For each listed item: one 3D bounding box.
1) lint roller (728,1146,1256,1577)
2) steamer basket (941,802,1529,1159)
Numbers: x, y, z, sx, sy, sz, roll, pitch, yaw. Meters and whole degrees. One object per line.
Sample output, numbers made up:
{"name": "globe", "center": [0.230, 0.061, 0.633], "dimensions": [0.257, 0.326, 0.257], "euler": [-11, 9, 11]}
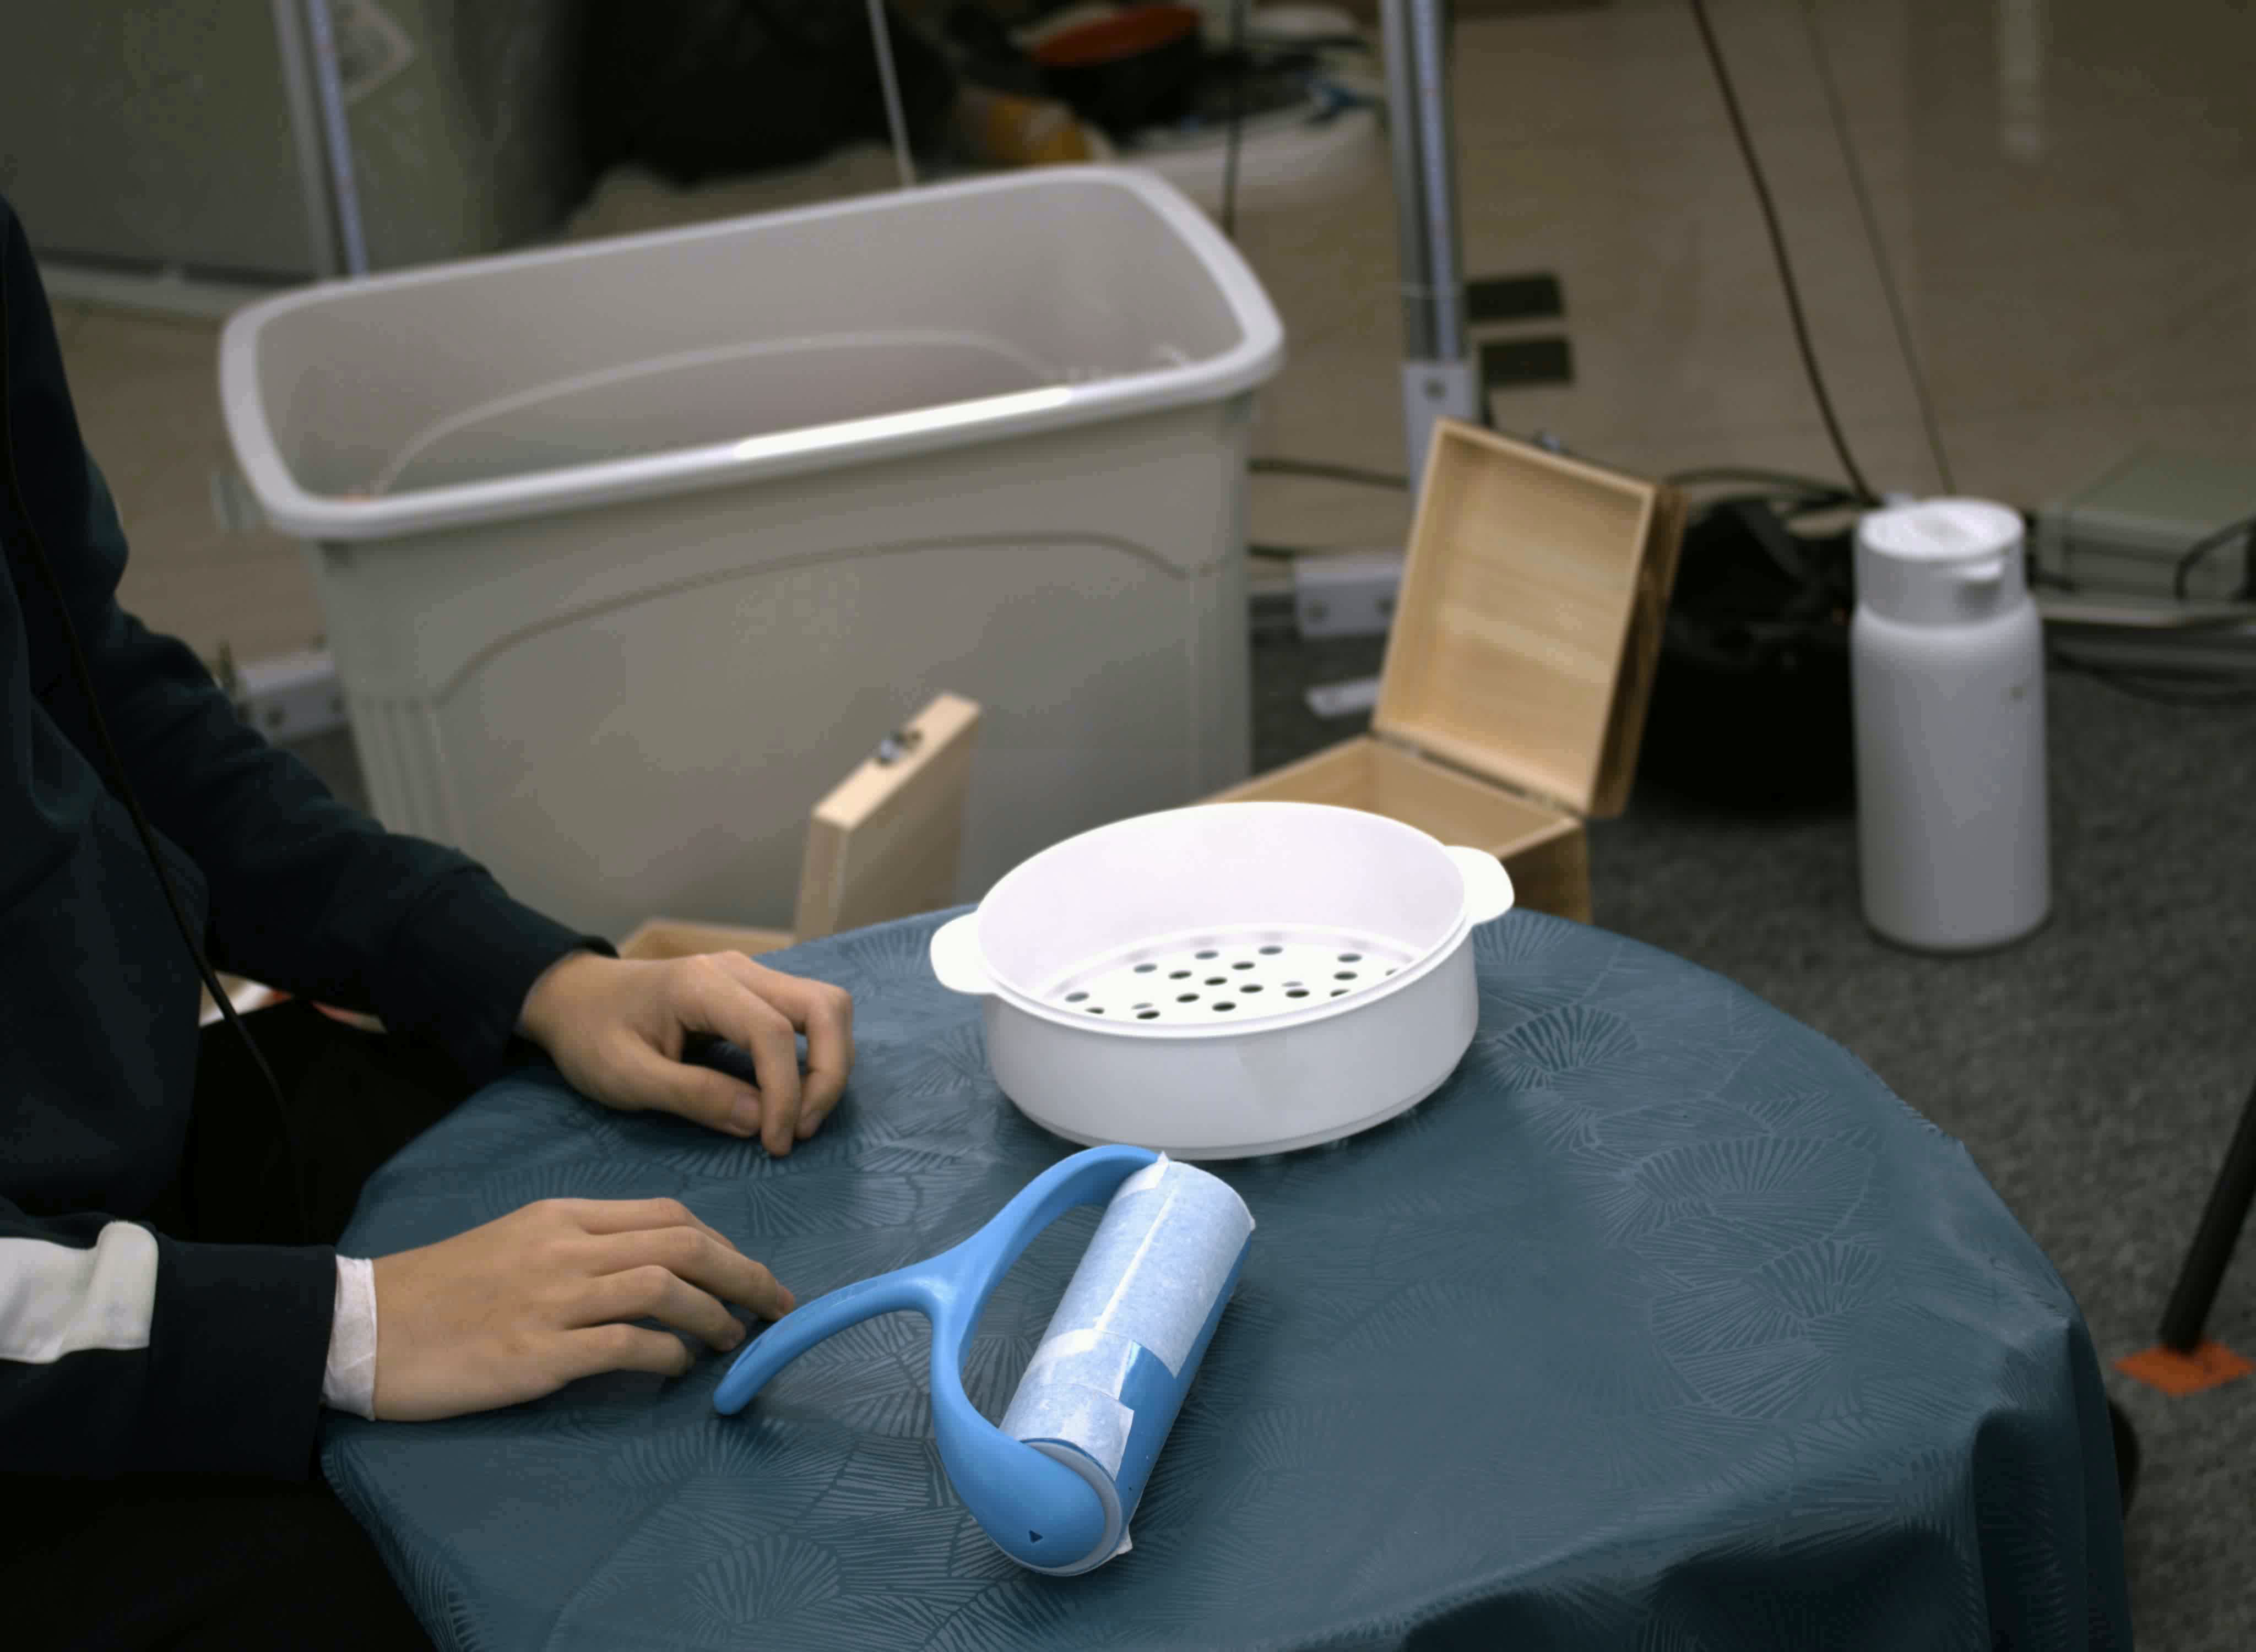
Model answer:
{"name": "lint roller", "center": [-0.058, 0.186, 1.991], "dimensions": [0.180, 0.069, 0.225], "euler": [0, 28, 11]}
{"name": "steamer basket", "center": [0.045, 0.061, 2.218], "dimensions": [0.230, 0.070, 0.199], "euler": [-9, 24, -3]}
